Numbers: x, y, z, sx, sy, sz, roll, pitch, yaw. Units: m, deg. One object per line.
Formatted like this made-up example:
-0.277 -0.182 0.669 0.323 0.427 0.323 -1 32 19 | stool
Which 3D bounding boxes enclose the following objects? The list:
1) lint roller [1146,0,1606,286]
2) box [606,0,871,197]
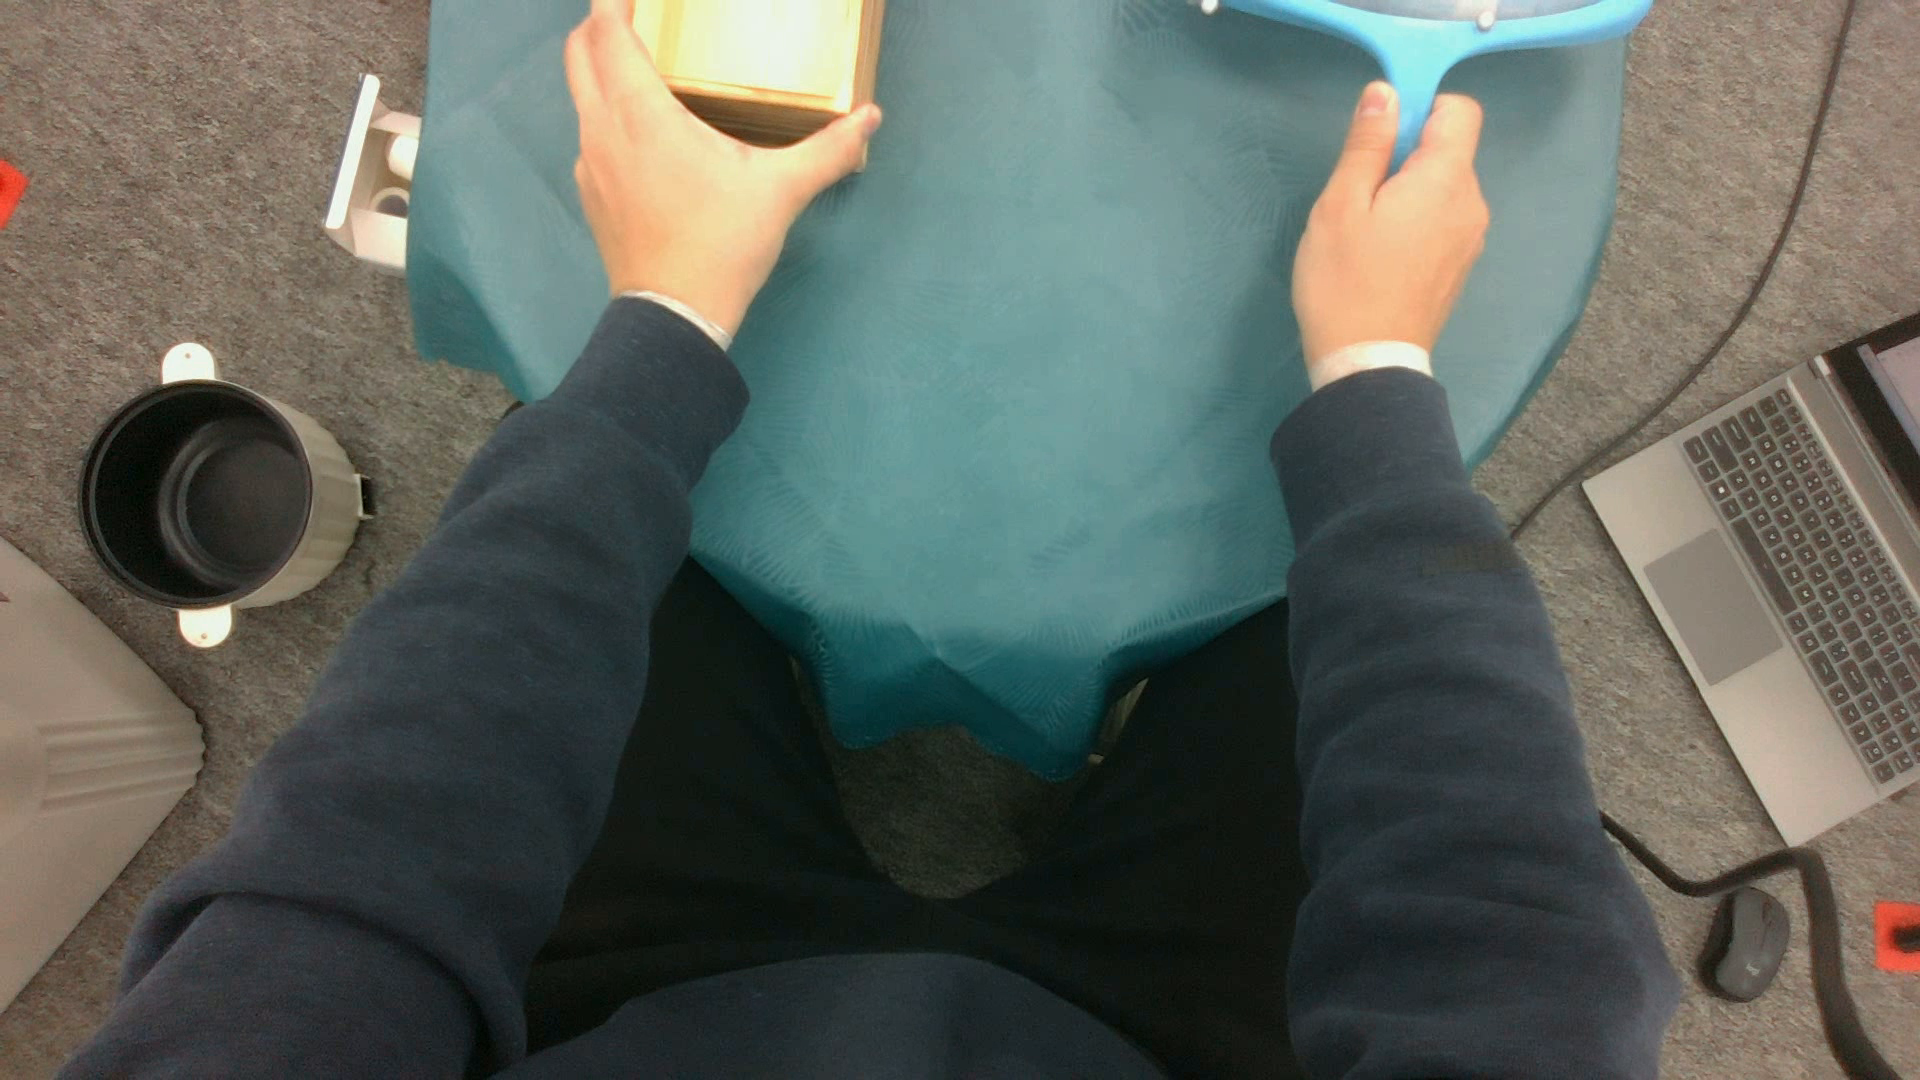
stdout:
0.192 -0.215 0.646 0.229 0.068 0.180 2 78 -2 | lint roller
-0.098 -0.281 0.661 0.107 0.080 0.211 4 86 2 | box
